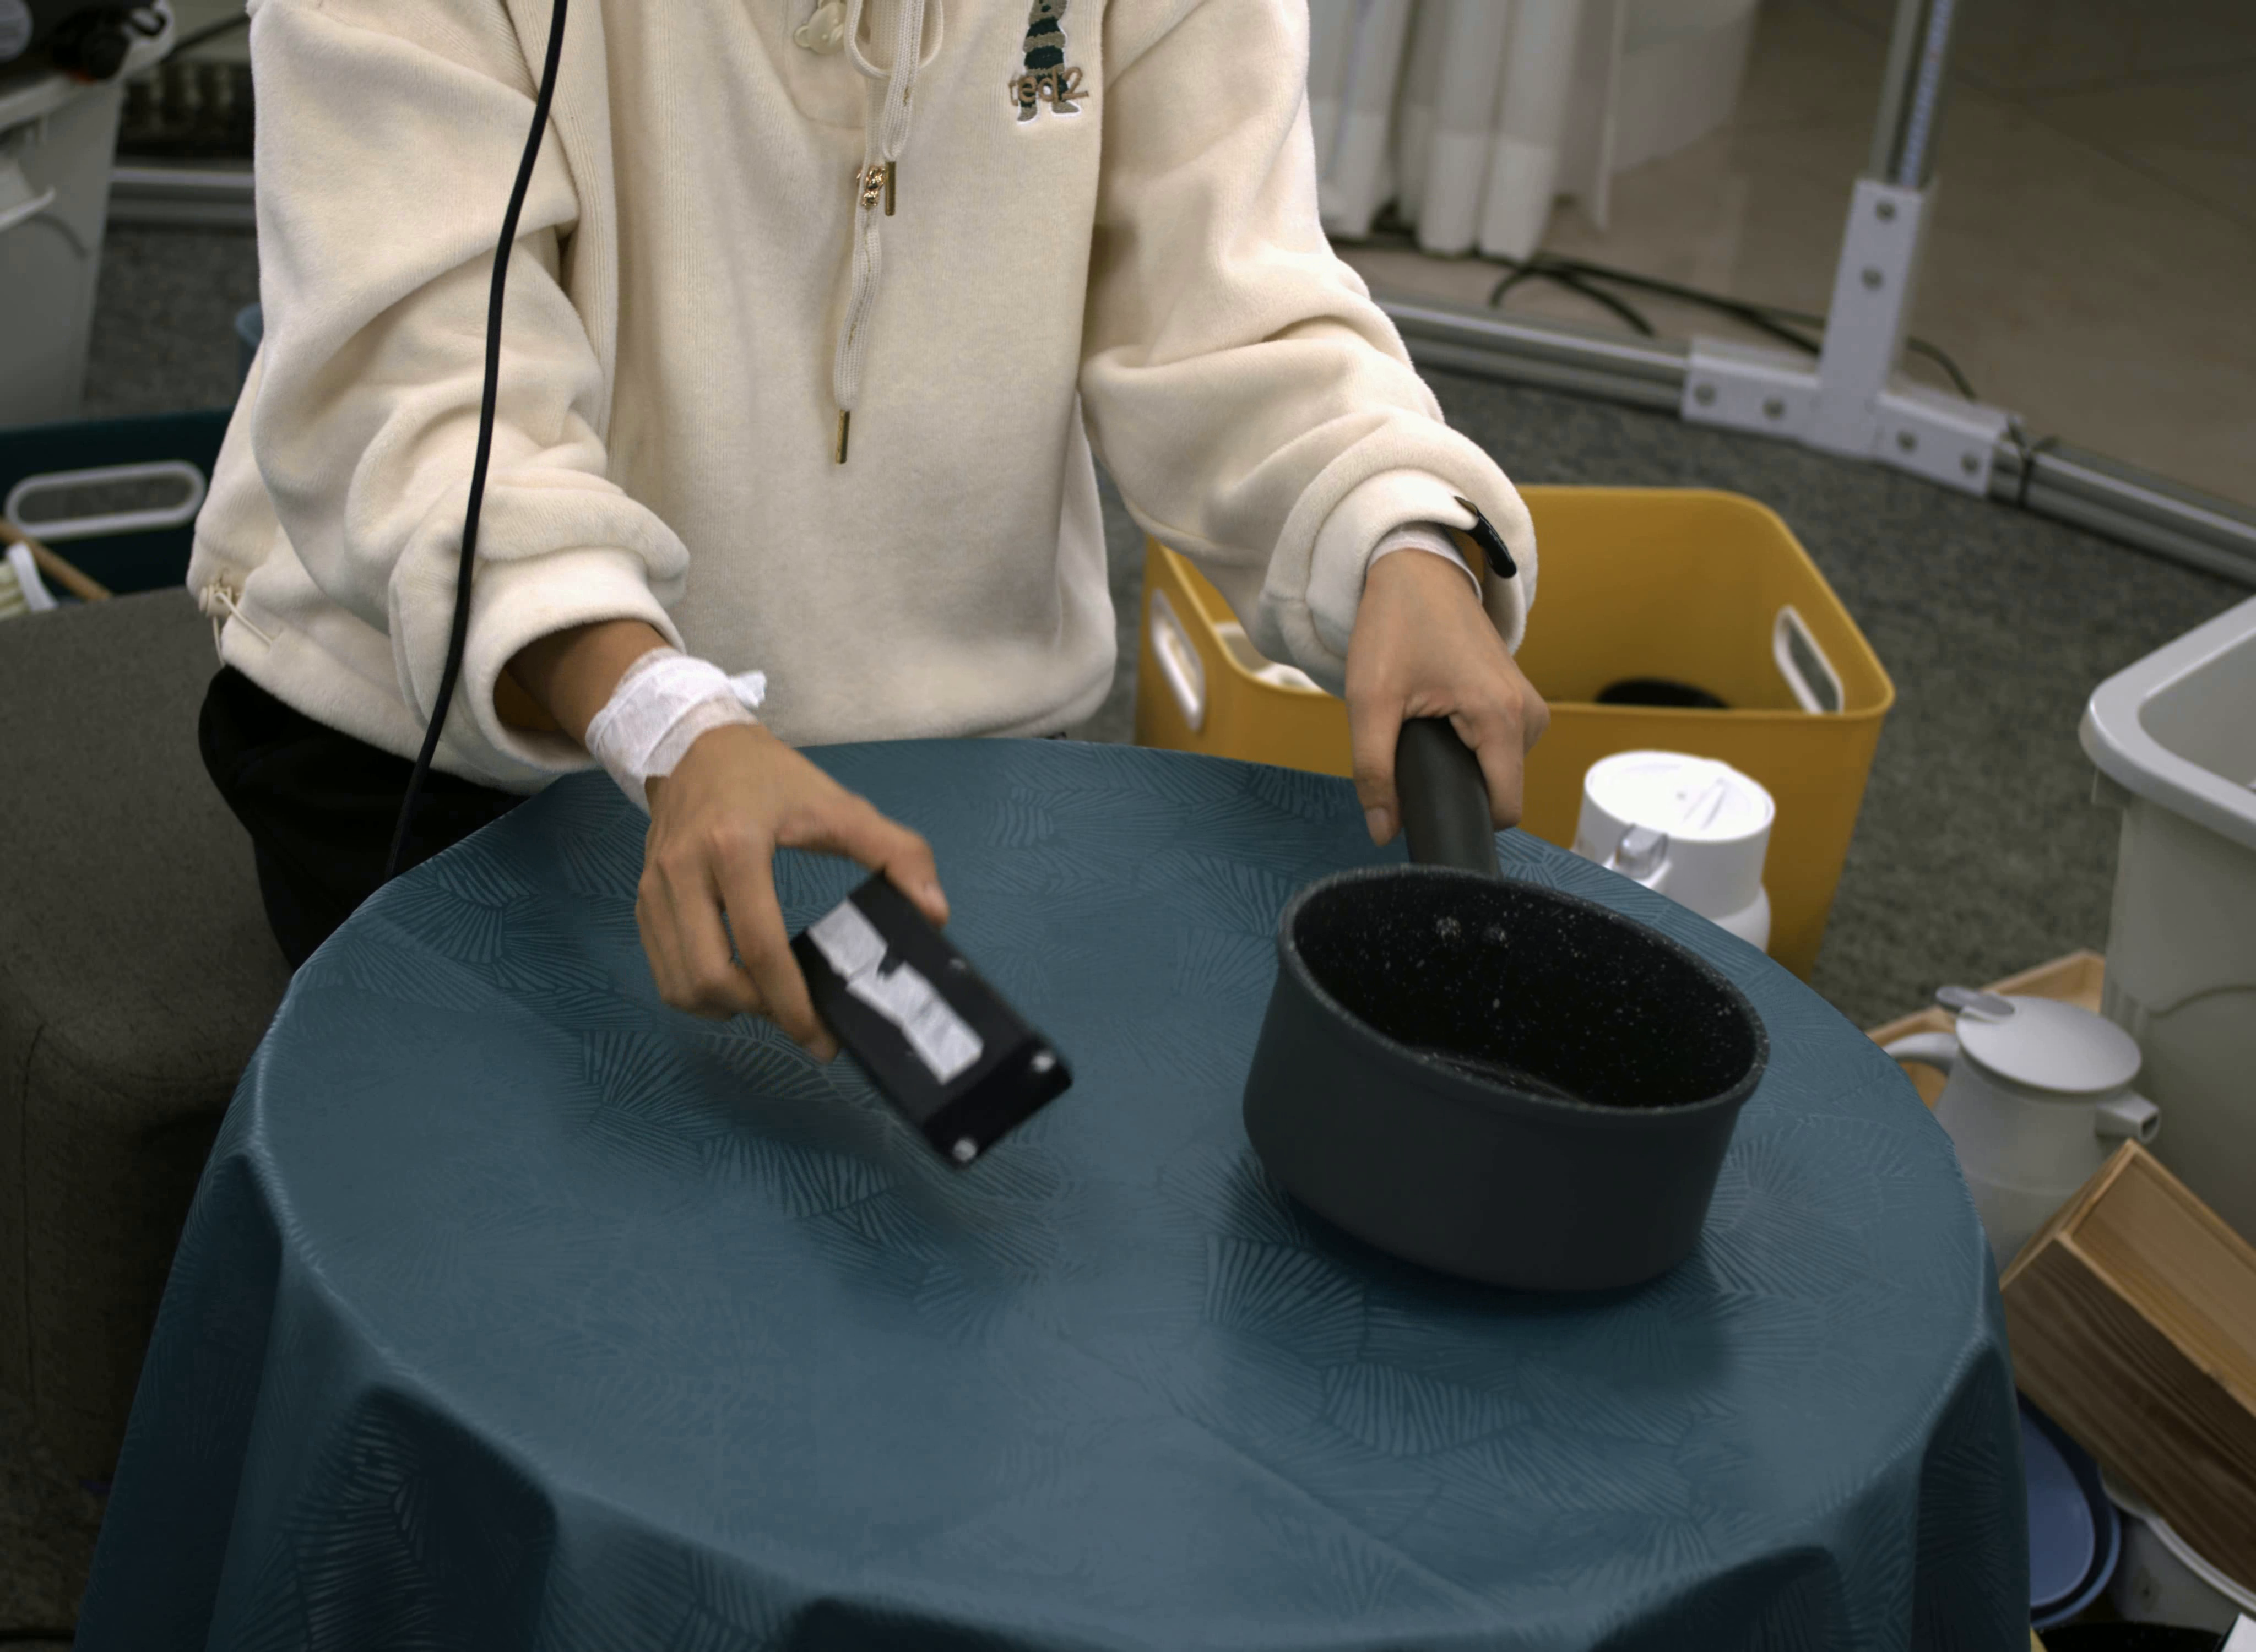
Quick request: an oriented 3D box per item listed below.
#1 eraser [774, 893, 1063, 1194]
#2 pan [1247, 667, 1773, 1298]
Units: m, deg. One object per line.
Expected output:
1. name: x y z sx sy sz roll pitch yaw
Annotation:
1. eraser: -0.070 0.072 1.787 0.053 0.030 0.126 -35 38 -7
2. pan: 0.122 0.050 1.872 0.171 0.086 0.331 10 26 -7
